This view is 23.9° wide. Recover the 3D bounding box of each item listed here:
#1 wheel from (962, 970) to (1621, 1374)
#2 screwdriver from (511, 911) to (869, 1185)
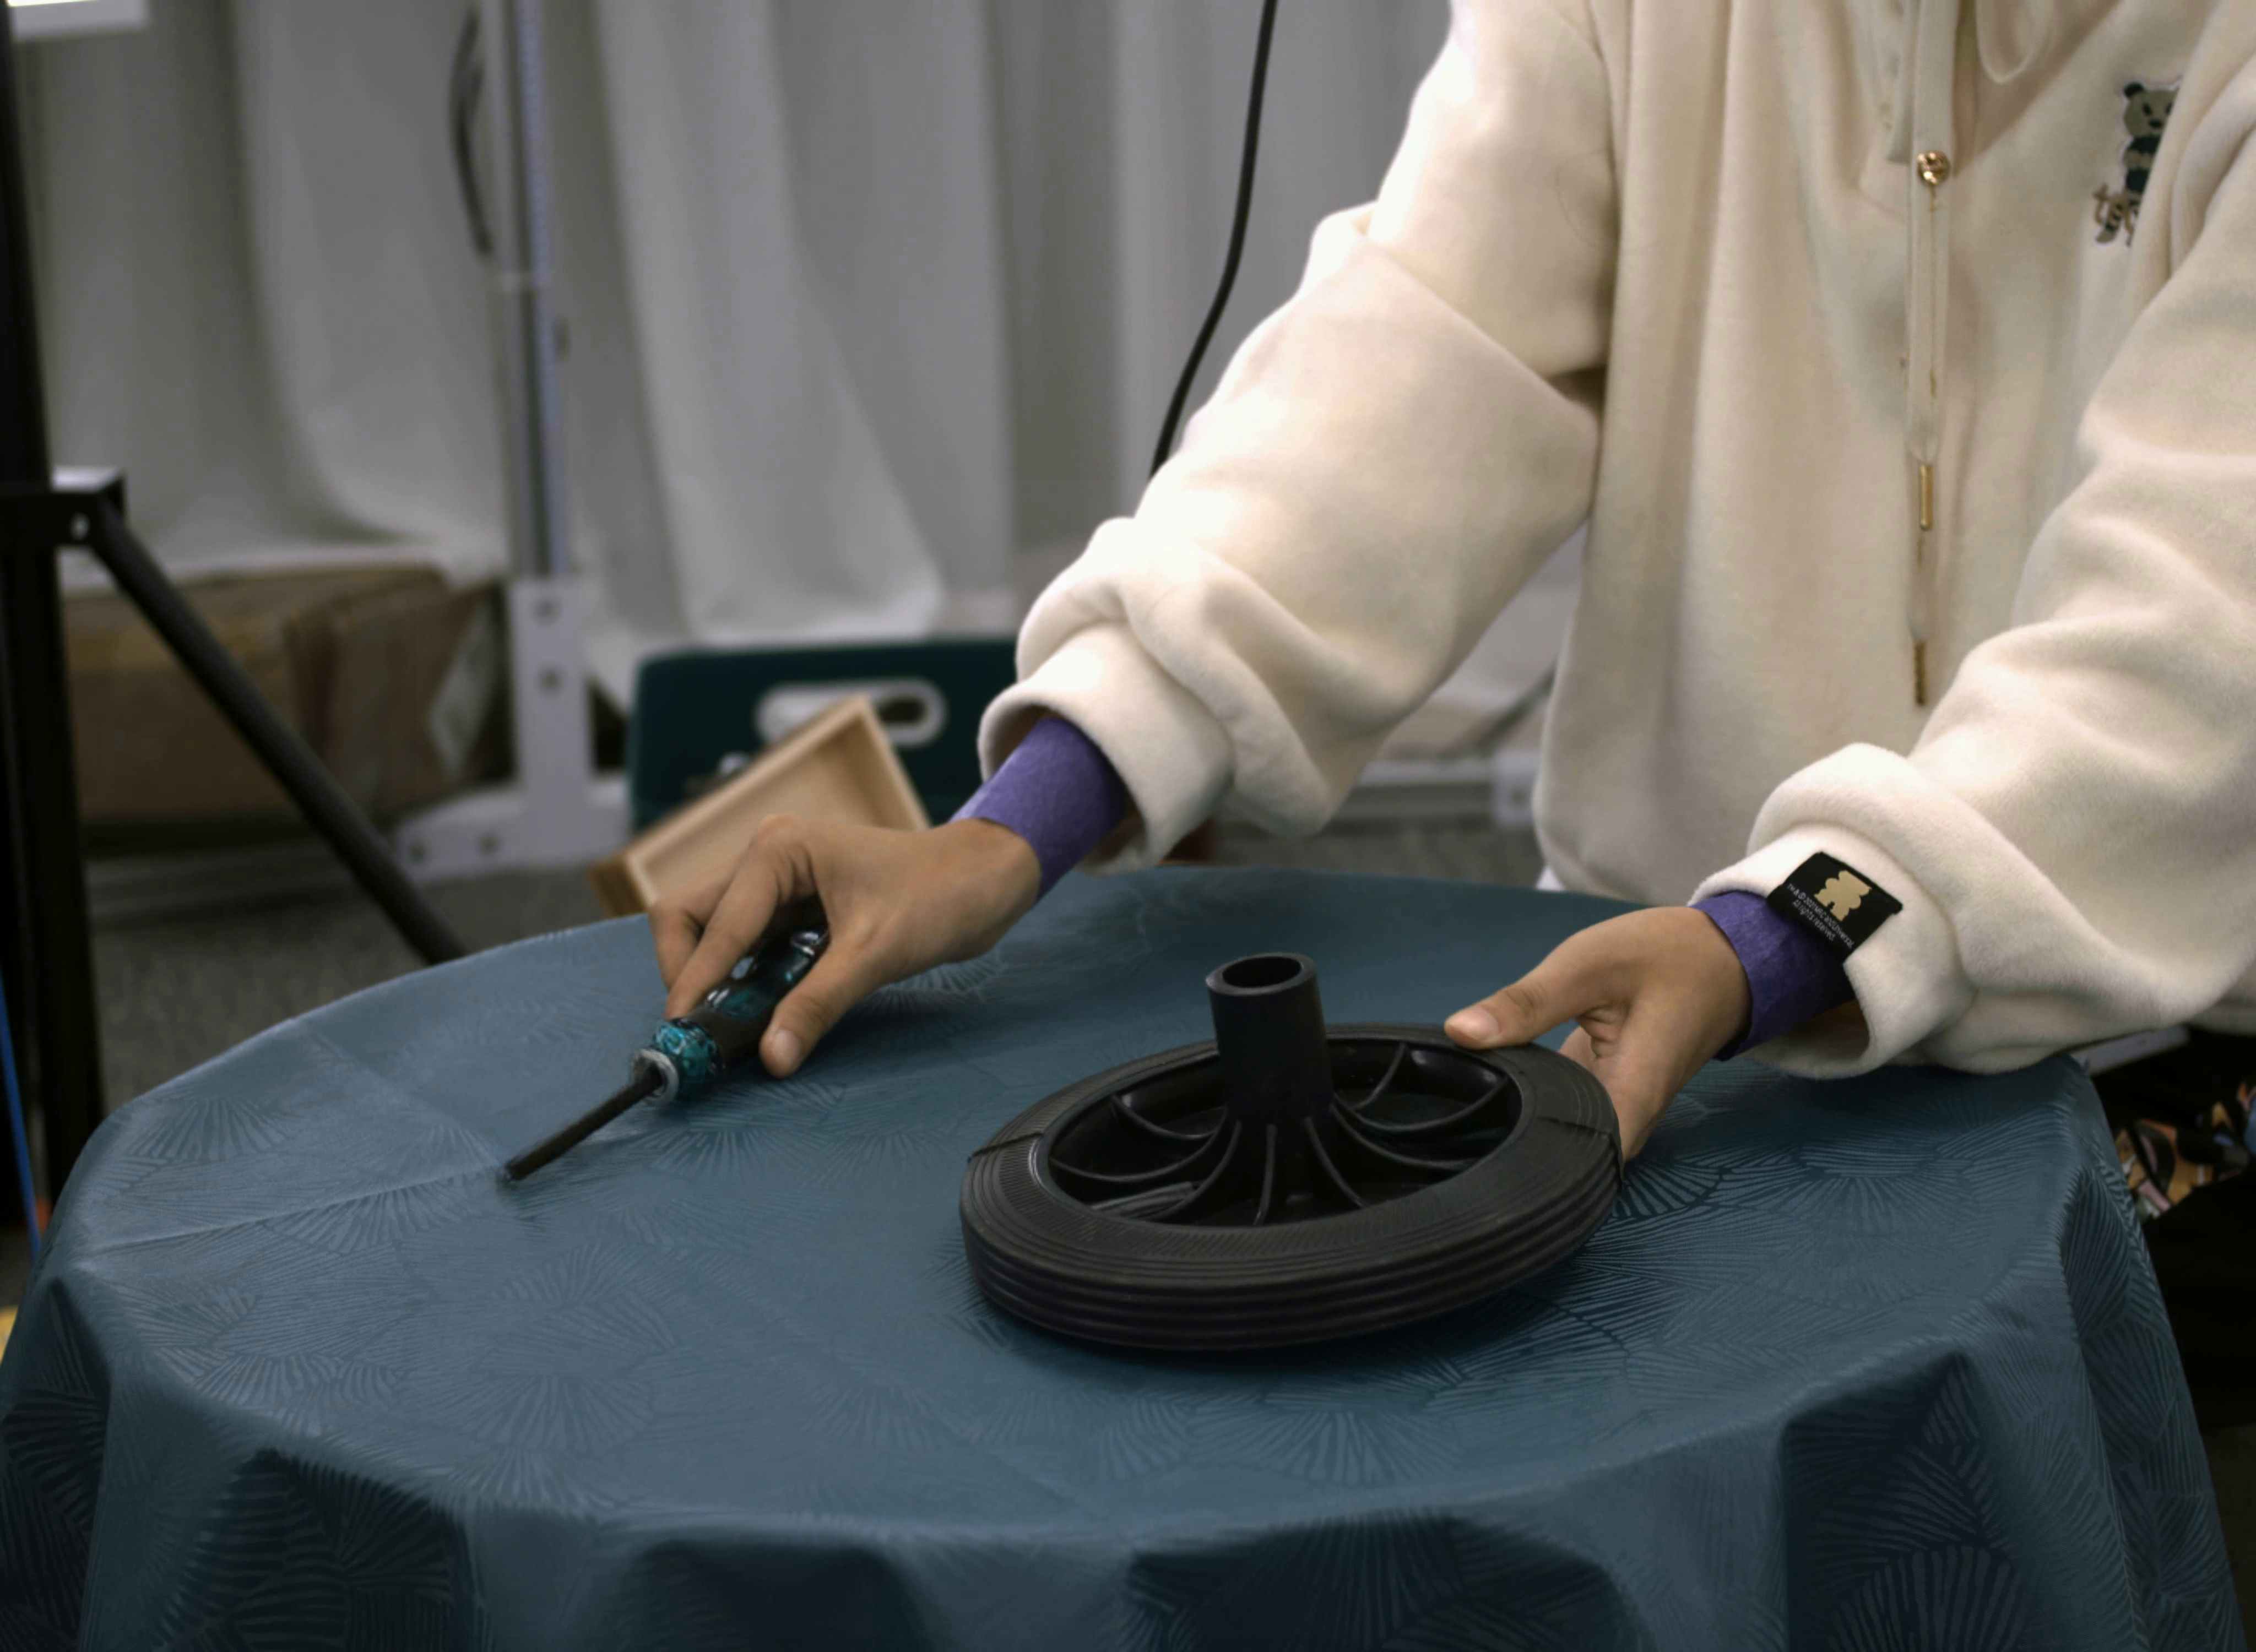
[{"bbox_3d":[0.041,0.083,1.485,0.186,0.079,0.192,-25,24,-34],"label":"wheel"},{"bbox_3d":[-0.138,0.072,1.659,0.034,0.033,0.187,6,25,28],"label":"screwdriver"}]
